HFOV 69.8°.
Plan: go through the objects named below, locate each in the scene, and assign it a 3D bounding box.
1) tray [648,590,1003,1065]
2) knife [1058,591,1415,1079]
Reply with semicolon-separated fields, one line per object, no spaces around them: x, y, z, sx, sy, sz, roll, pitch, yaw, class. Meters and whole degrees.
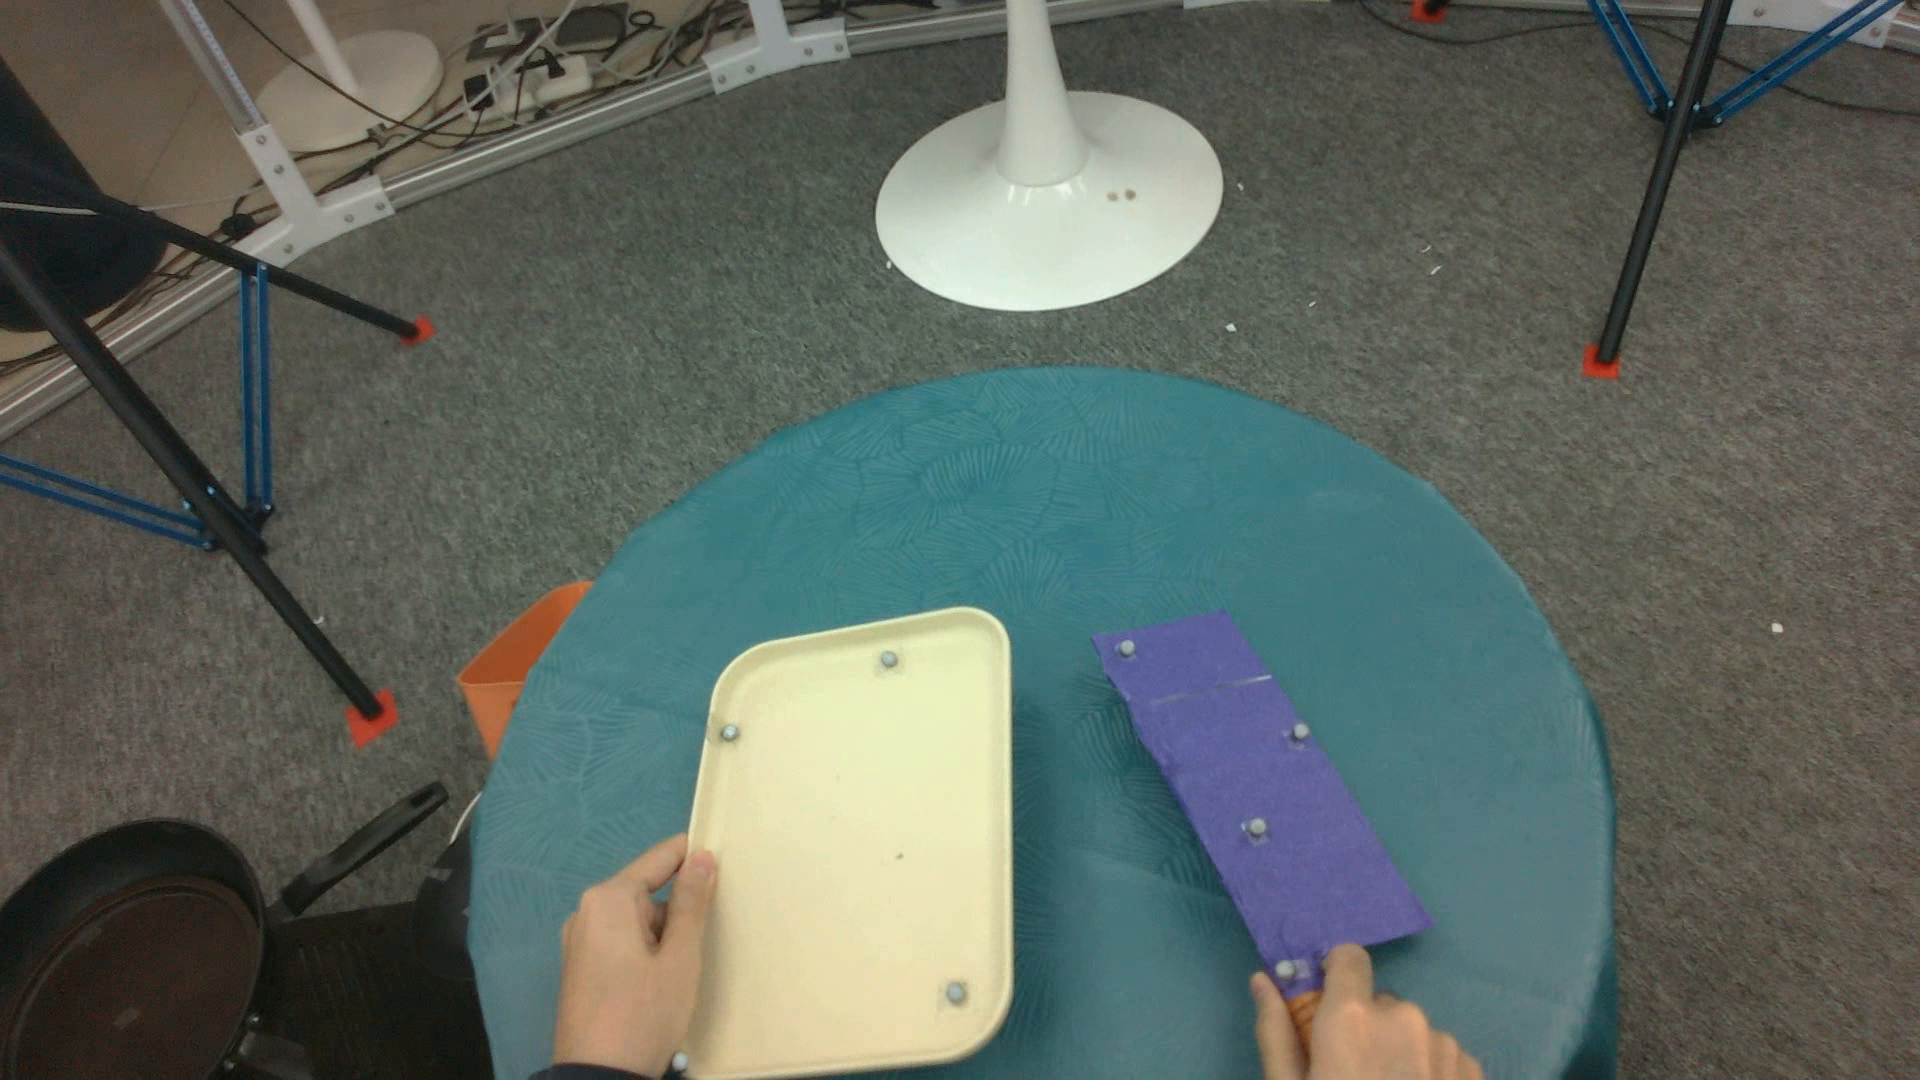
-0.060;0.133;0.676;0.171;0.017;0.241;-11;48;14;tray
0.155;0.138;0.659;0.104;0.032;0.316;-10;48;-21;knife
